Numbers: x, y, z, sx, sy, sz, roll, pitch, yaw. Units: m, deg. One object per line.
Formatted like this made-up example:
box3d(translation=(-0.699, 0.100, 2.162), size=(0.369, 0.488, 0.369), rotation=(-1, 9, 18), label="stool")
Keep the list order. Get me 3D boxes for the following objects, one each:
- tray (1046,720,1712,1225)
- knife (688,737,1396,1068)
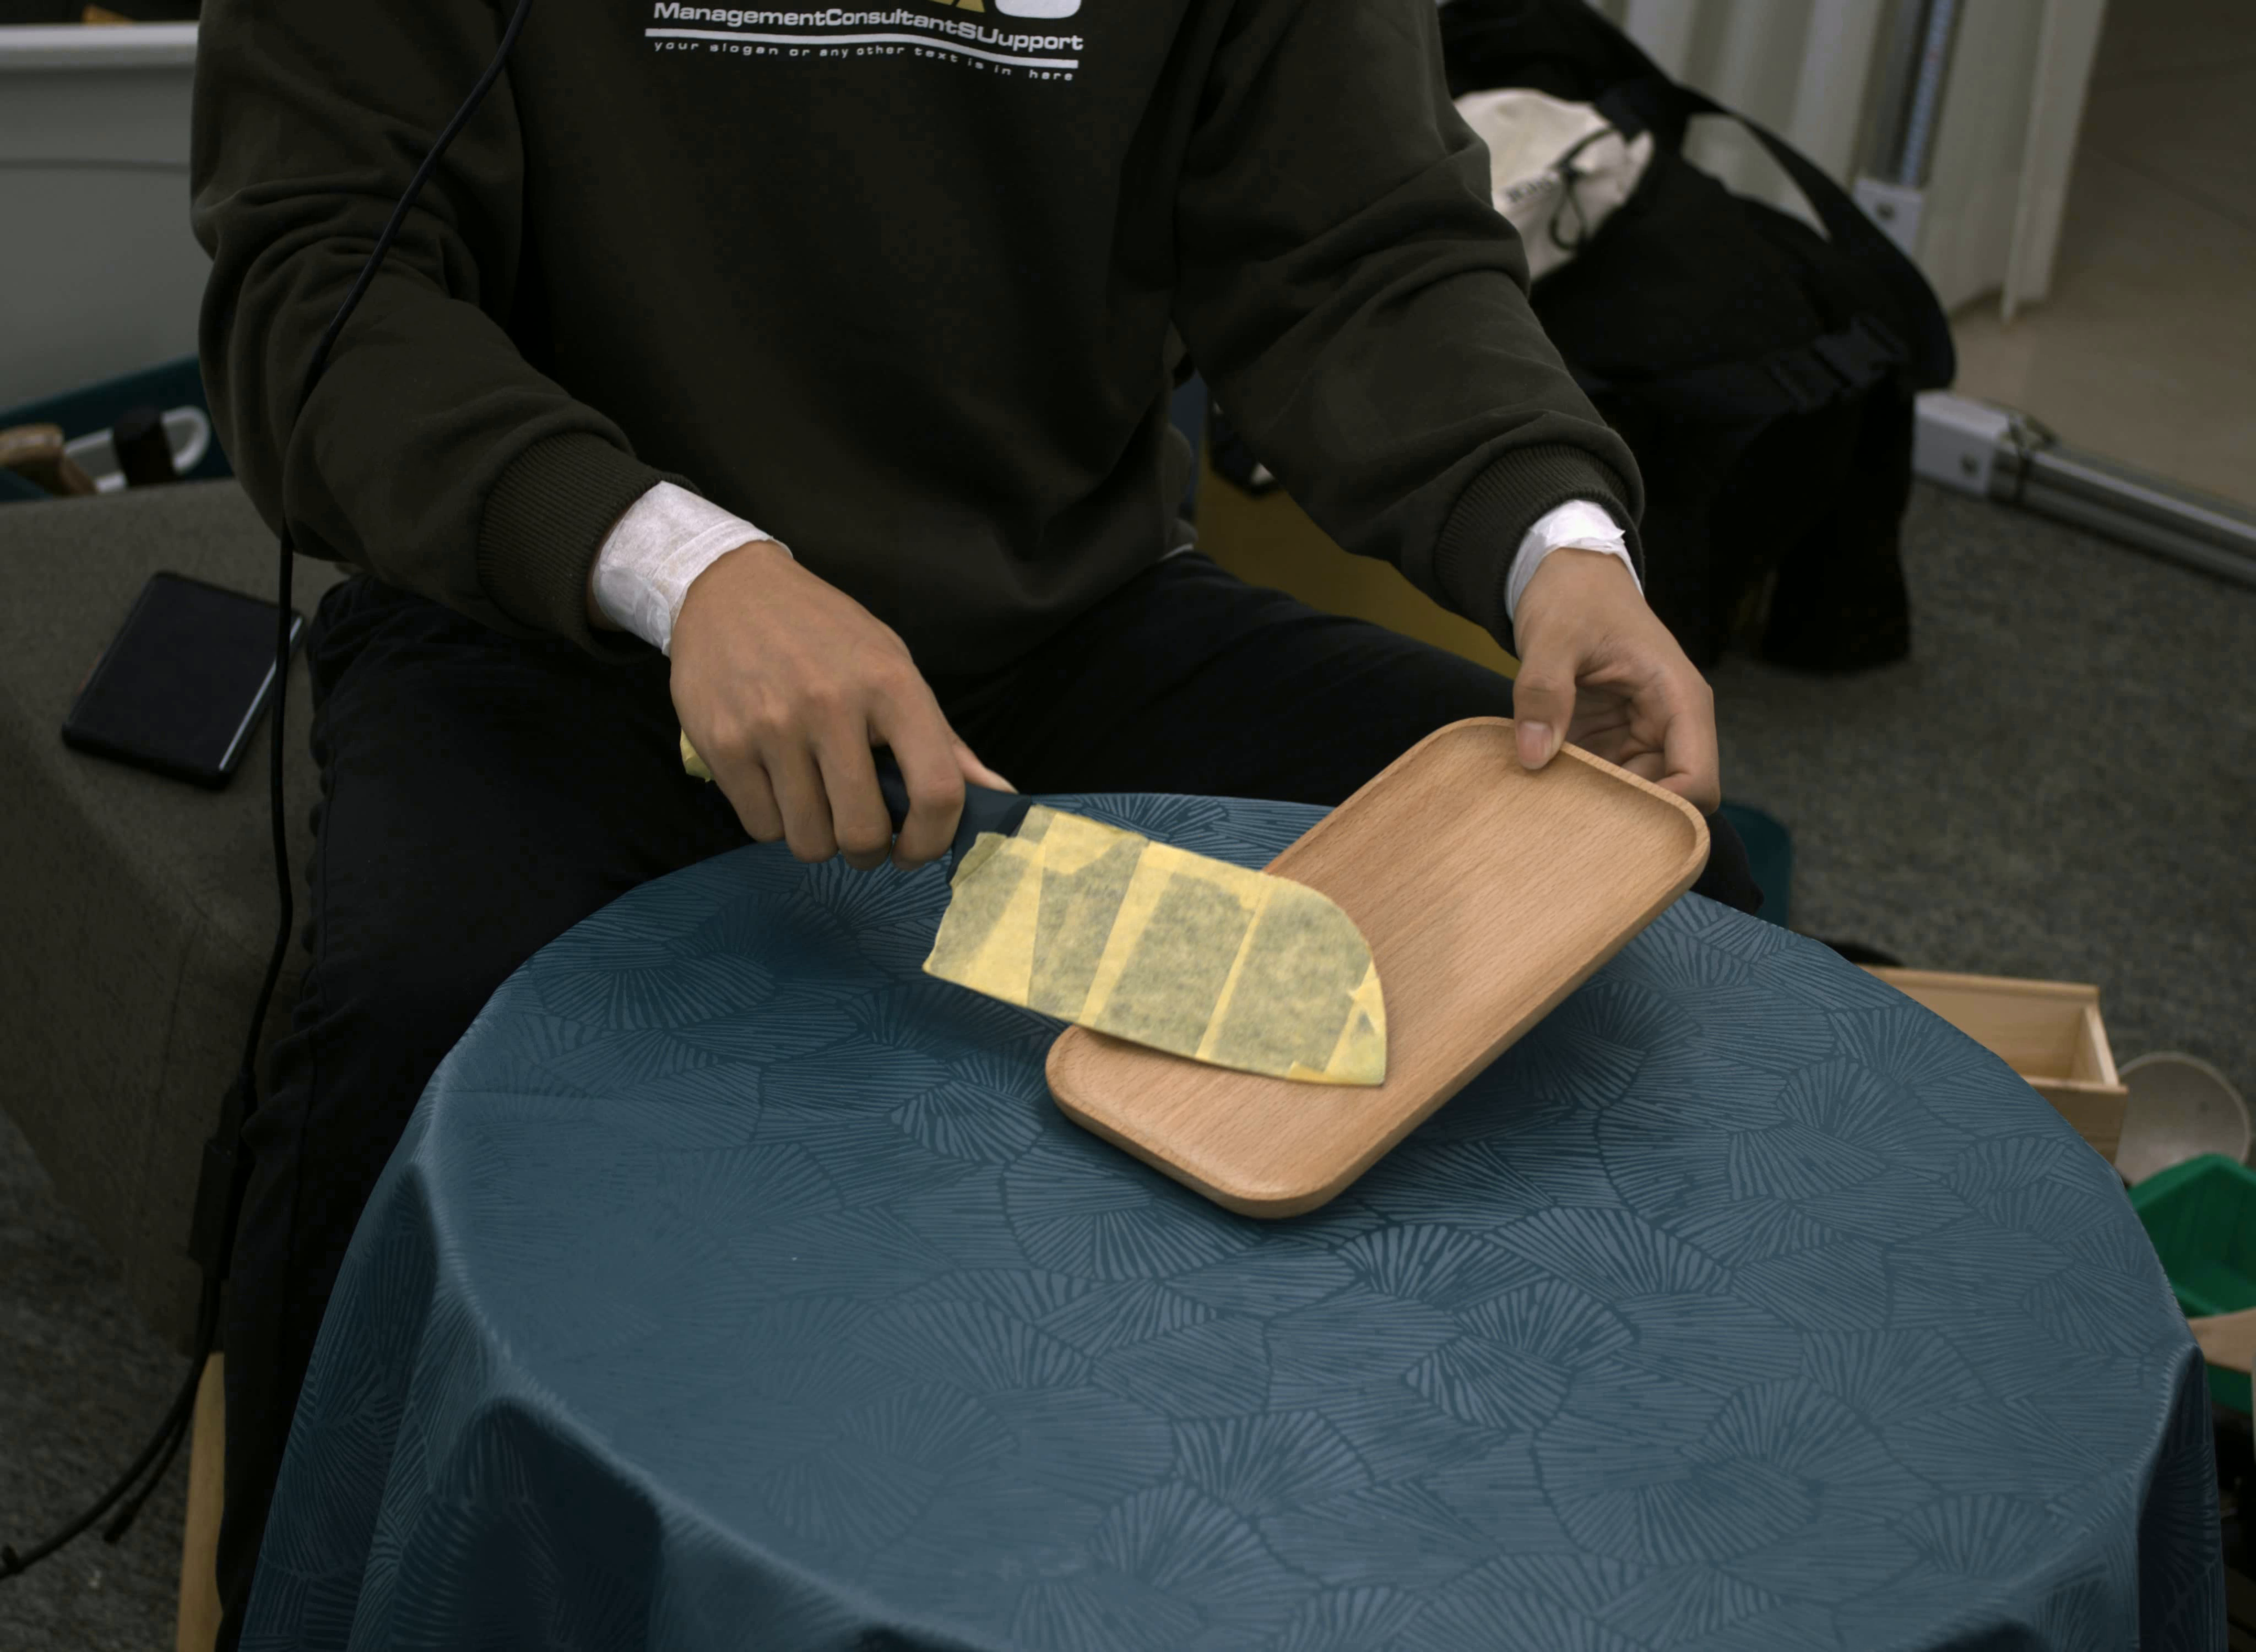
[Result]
box3d(translation=(0.091, 0.049, 1.875), size=(0.131, 0.023, 0.250), rotation=(25, 51, 37), label="tray")
box3d(translation=(-0.036, 0.025, 1.887), size=(0.290, 0.027, 0.081), rotation=(19, 70, 22), label="knife")
